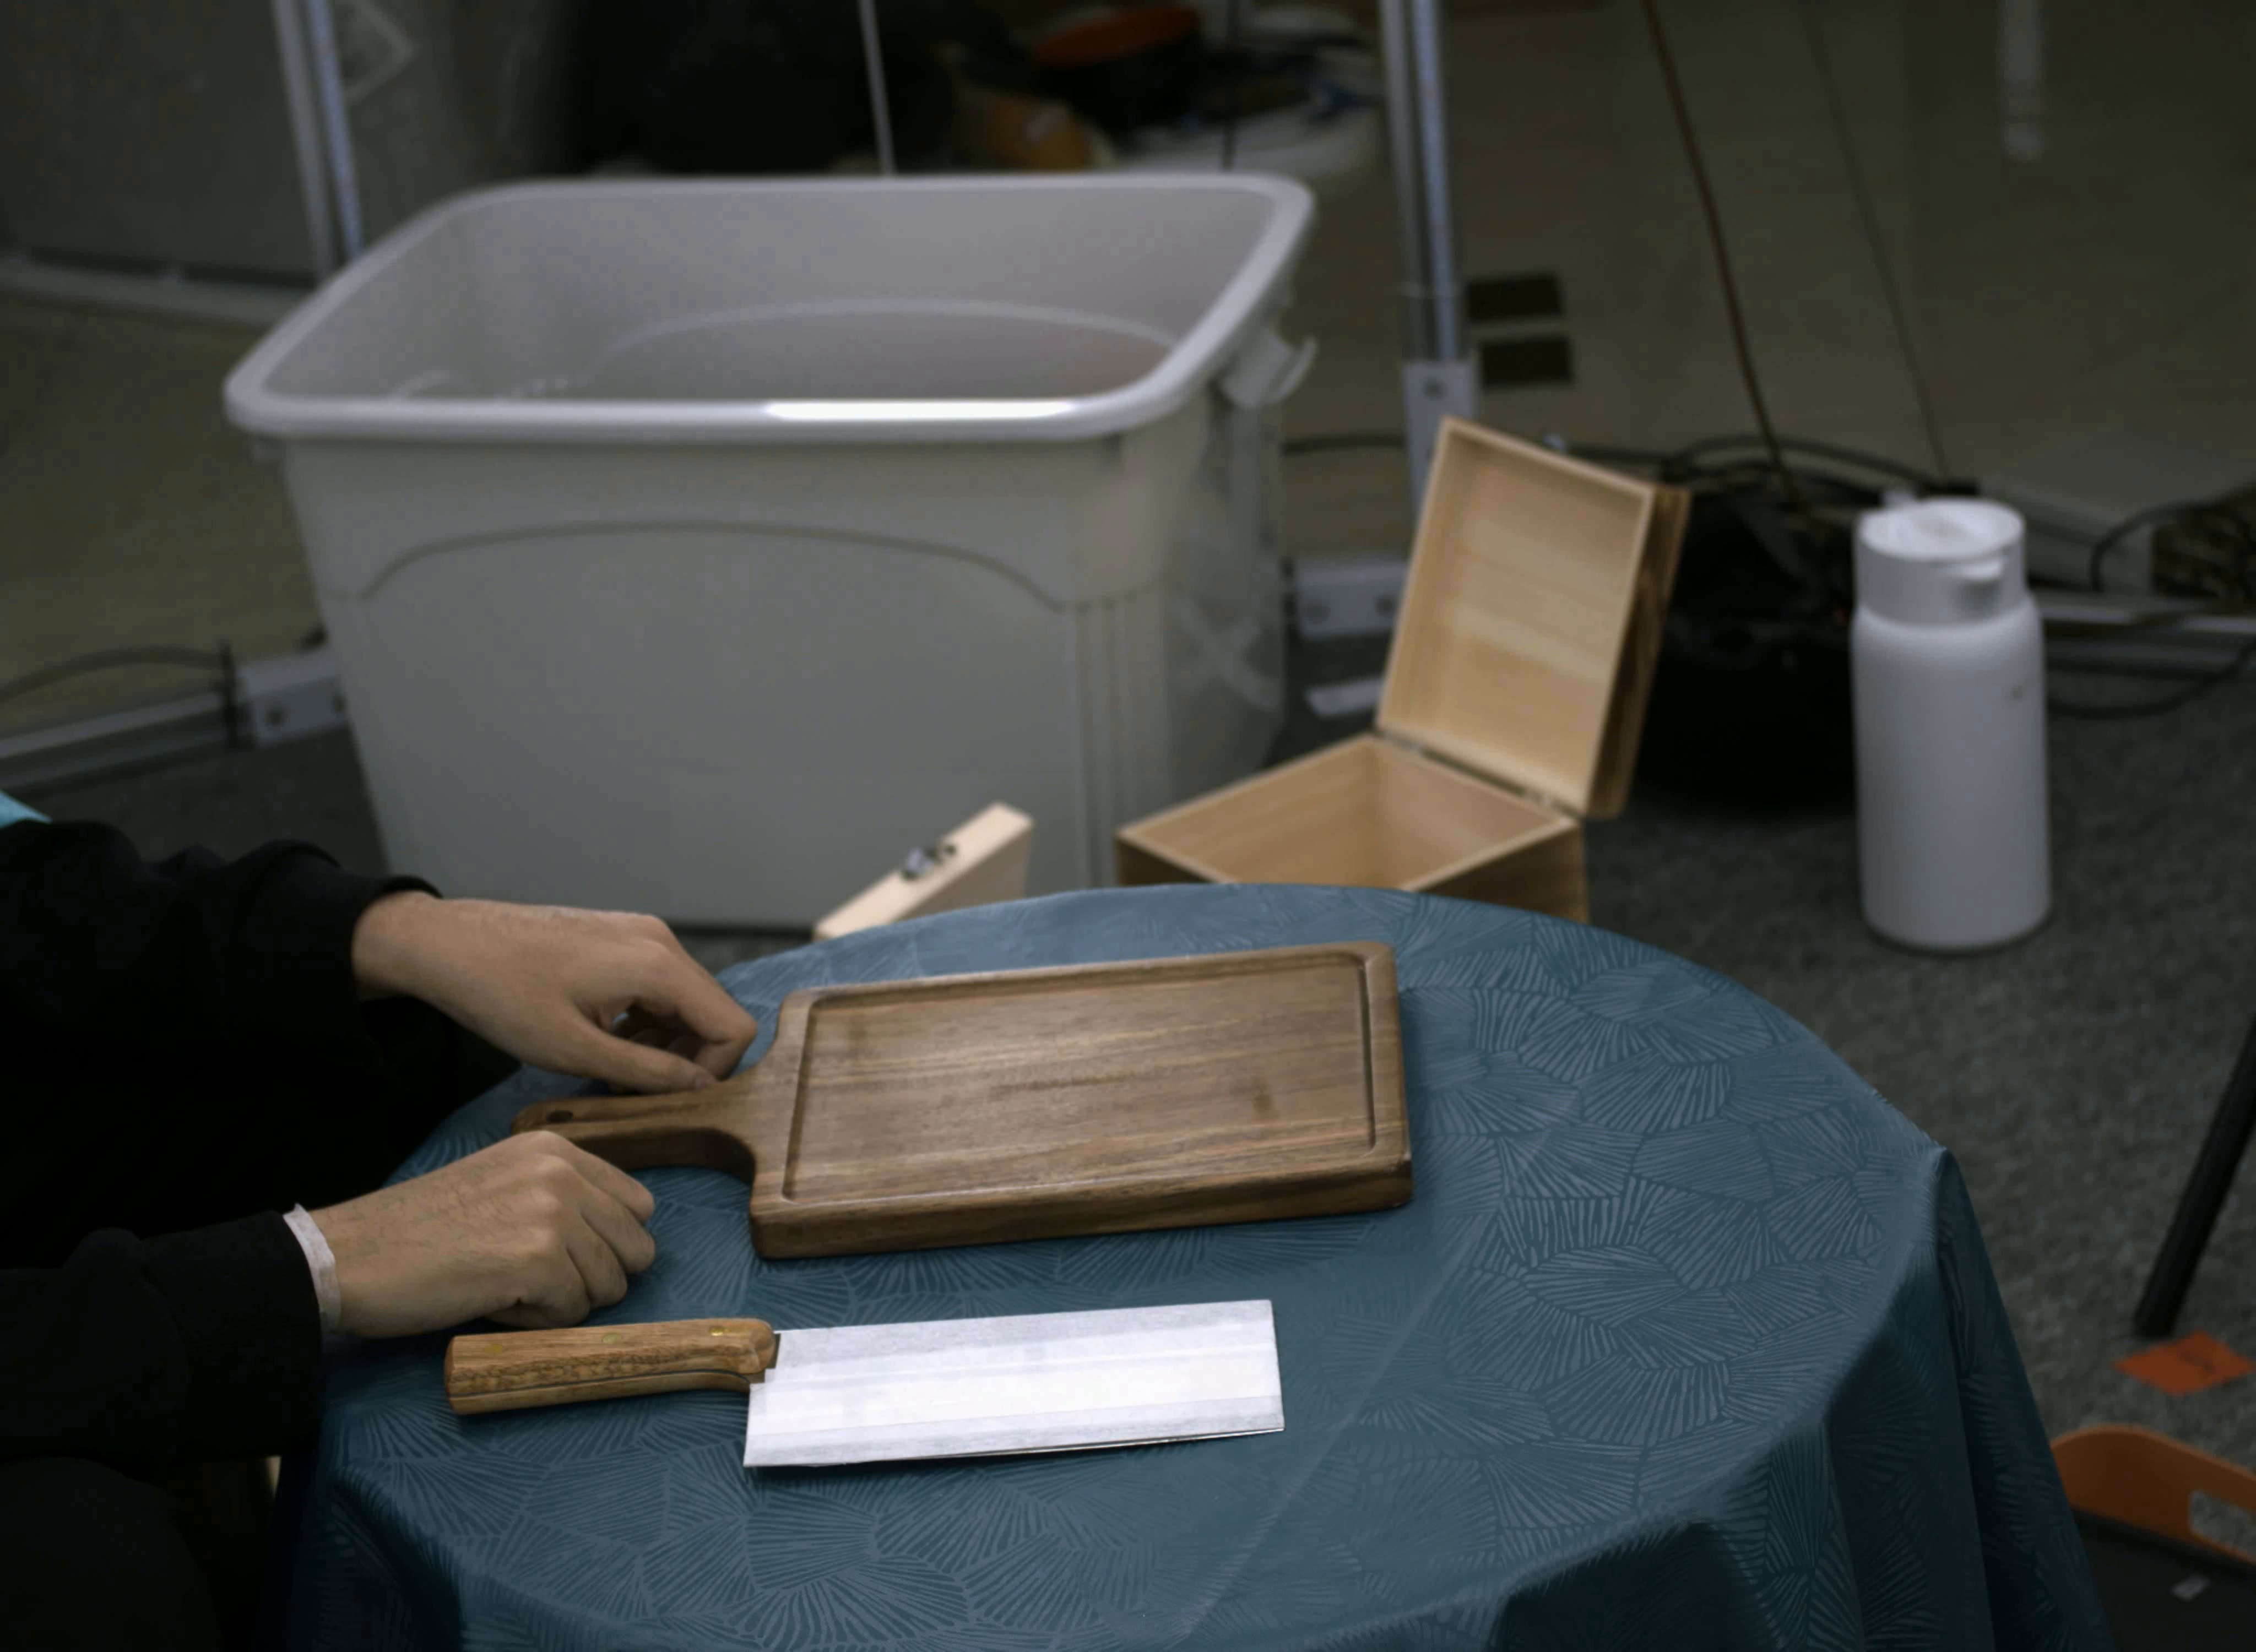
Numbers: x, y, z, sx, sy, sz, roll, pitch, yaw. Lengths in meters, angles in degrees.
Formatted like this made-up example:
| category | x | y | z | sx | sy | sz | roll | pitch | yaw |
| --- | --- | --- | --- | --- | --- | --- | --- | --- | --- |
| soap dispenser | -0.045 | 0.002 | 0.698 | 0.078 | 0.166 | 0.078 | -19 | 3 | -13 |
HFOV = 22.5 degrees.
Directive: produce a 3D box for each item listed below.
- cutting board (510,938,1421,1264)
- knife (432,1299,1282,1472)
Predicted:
| category | x | y | z | sx | sy | sz | roll | pitch | yaw |
| --- | --- | --- | --- | --- | --- | --- | --- | --- | --- |
| cutting board | -0.065 | 0.109 | 2.203 | 0.351 | 0.023 | 0.198 | -5 | 25 | 3 |
| knife | -0.098 | 0.201 | 2.021 | 0.305 | 0.021 | 0.091 | -4 | 27 | 0 |
